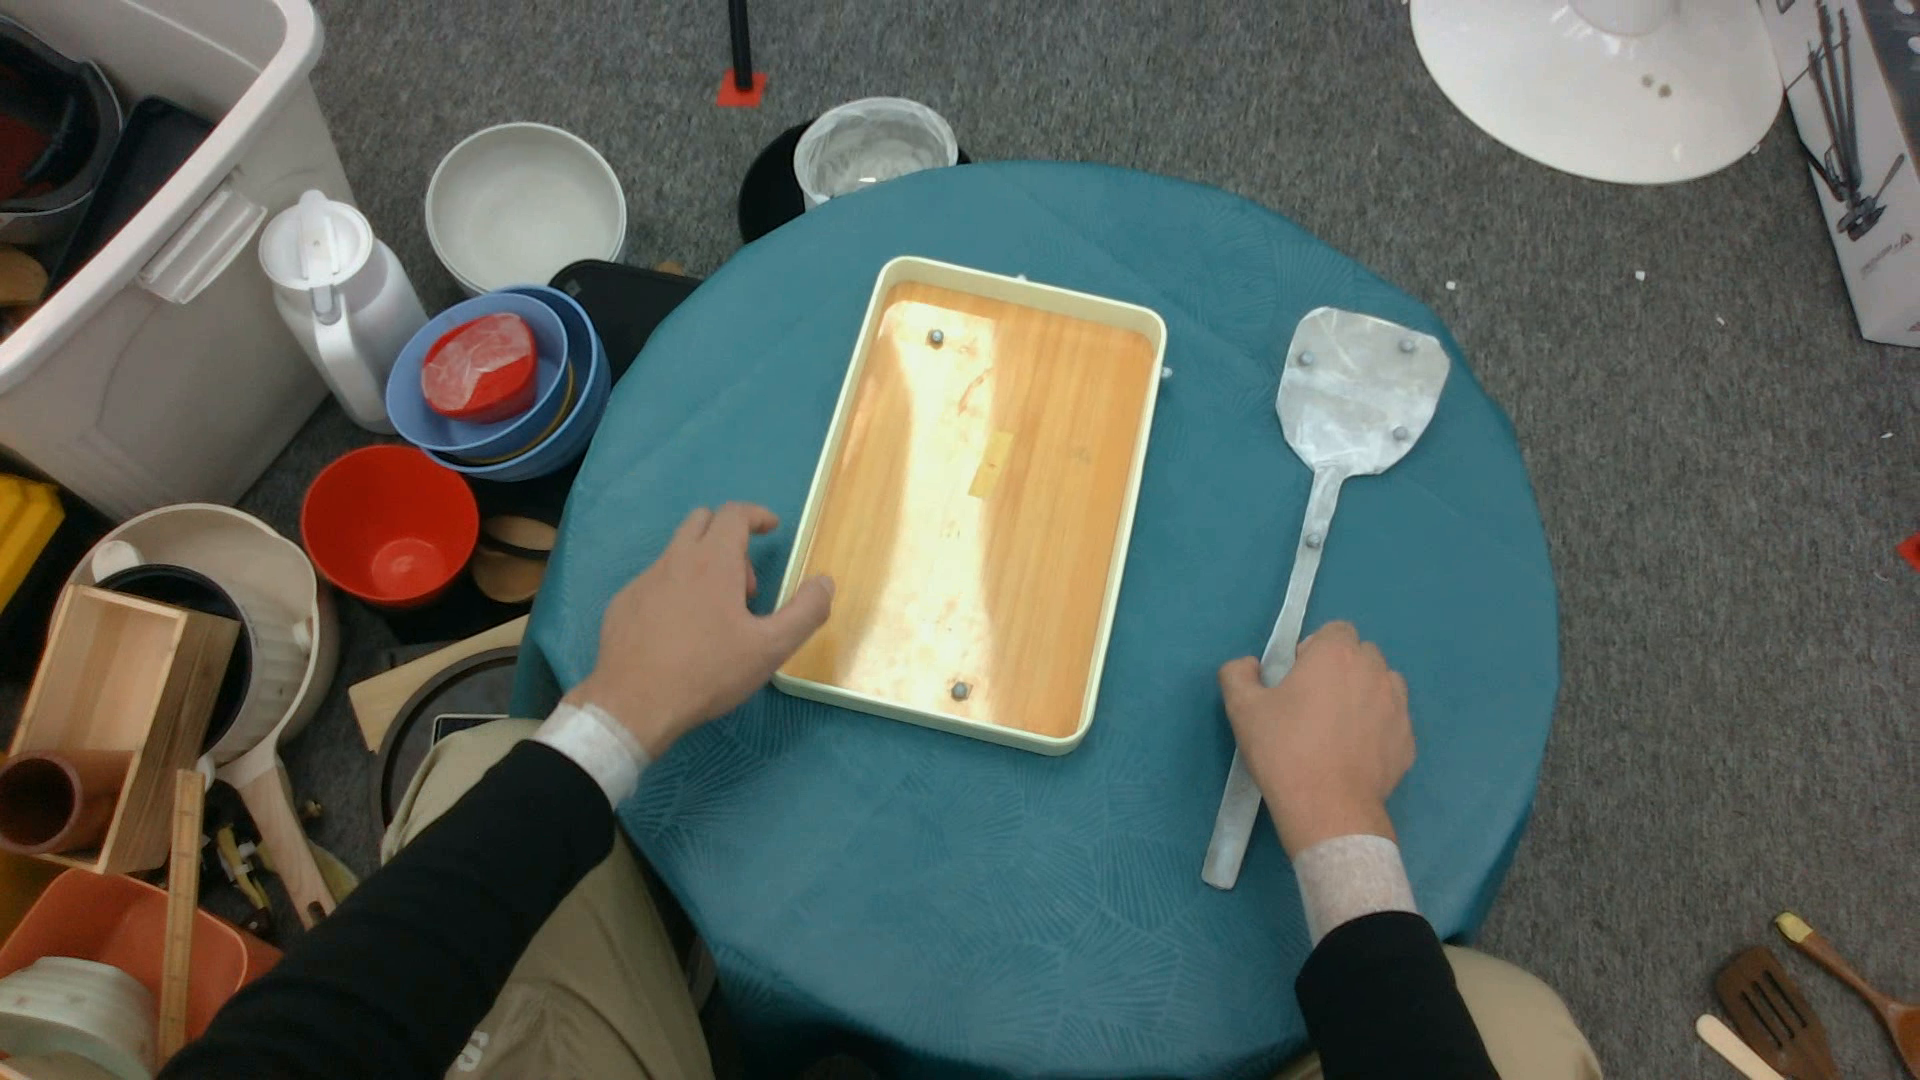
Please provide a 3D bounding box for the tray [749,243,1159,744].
[{"bbox_3d":[0.004,-0.038,0.832,0.191,0.027,0.301,14,64,2],"label":"tray"}]

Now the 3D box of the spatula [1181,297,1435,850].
[{"bbox_3d":[0.196,0.013,0.816,0.098,0.044,0.366,19,64,7],"label":"spatula"}]
